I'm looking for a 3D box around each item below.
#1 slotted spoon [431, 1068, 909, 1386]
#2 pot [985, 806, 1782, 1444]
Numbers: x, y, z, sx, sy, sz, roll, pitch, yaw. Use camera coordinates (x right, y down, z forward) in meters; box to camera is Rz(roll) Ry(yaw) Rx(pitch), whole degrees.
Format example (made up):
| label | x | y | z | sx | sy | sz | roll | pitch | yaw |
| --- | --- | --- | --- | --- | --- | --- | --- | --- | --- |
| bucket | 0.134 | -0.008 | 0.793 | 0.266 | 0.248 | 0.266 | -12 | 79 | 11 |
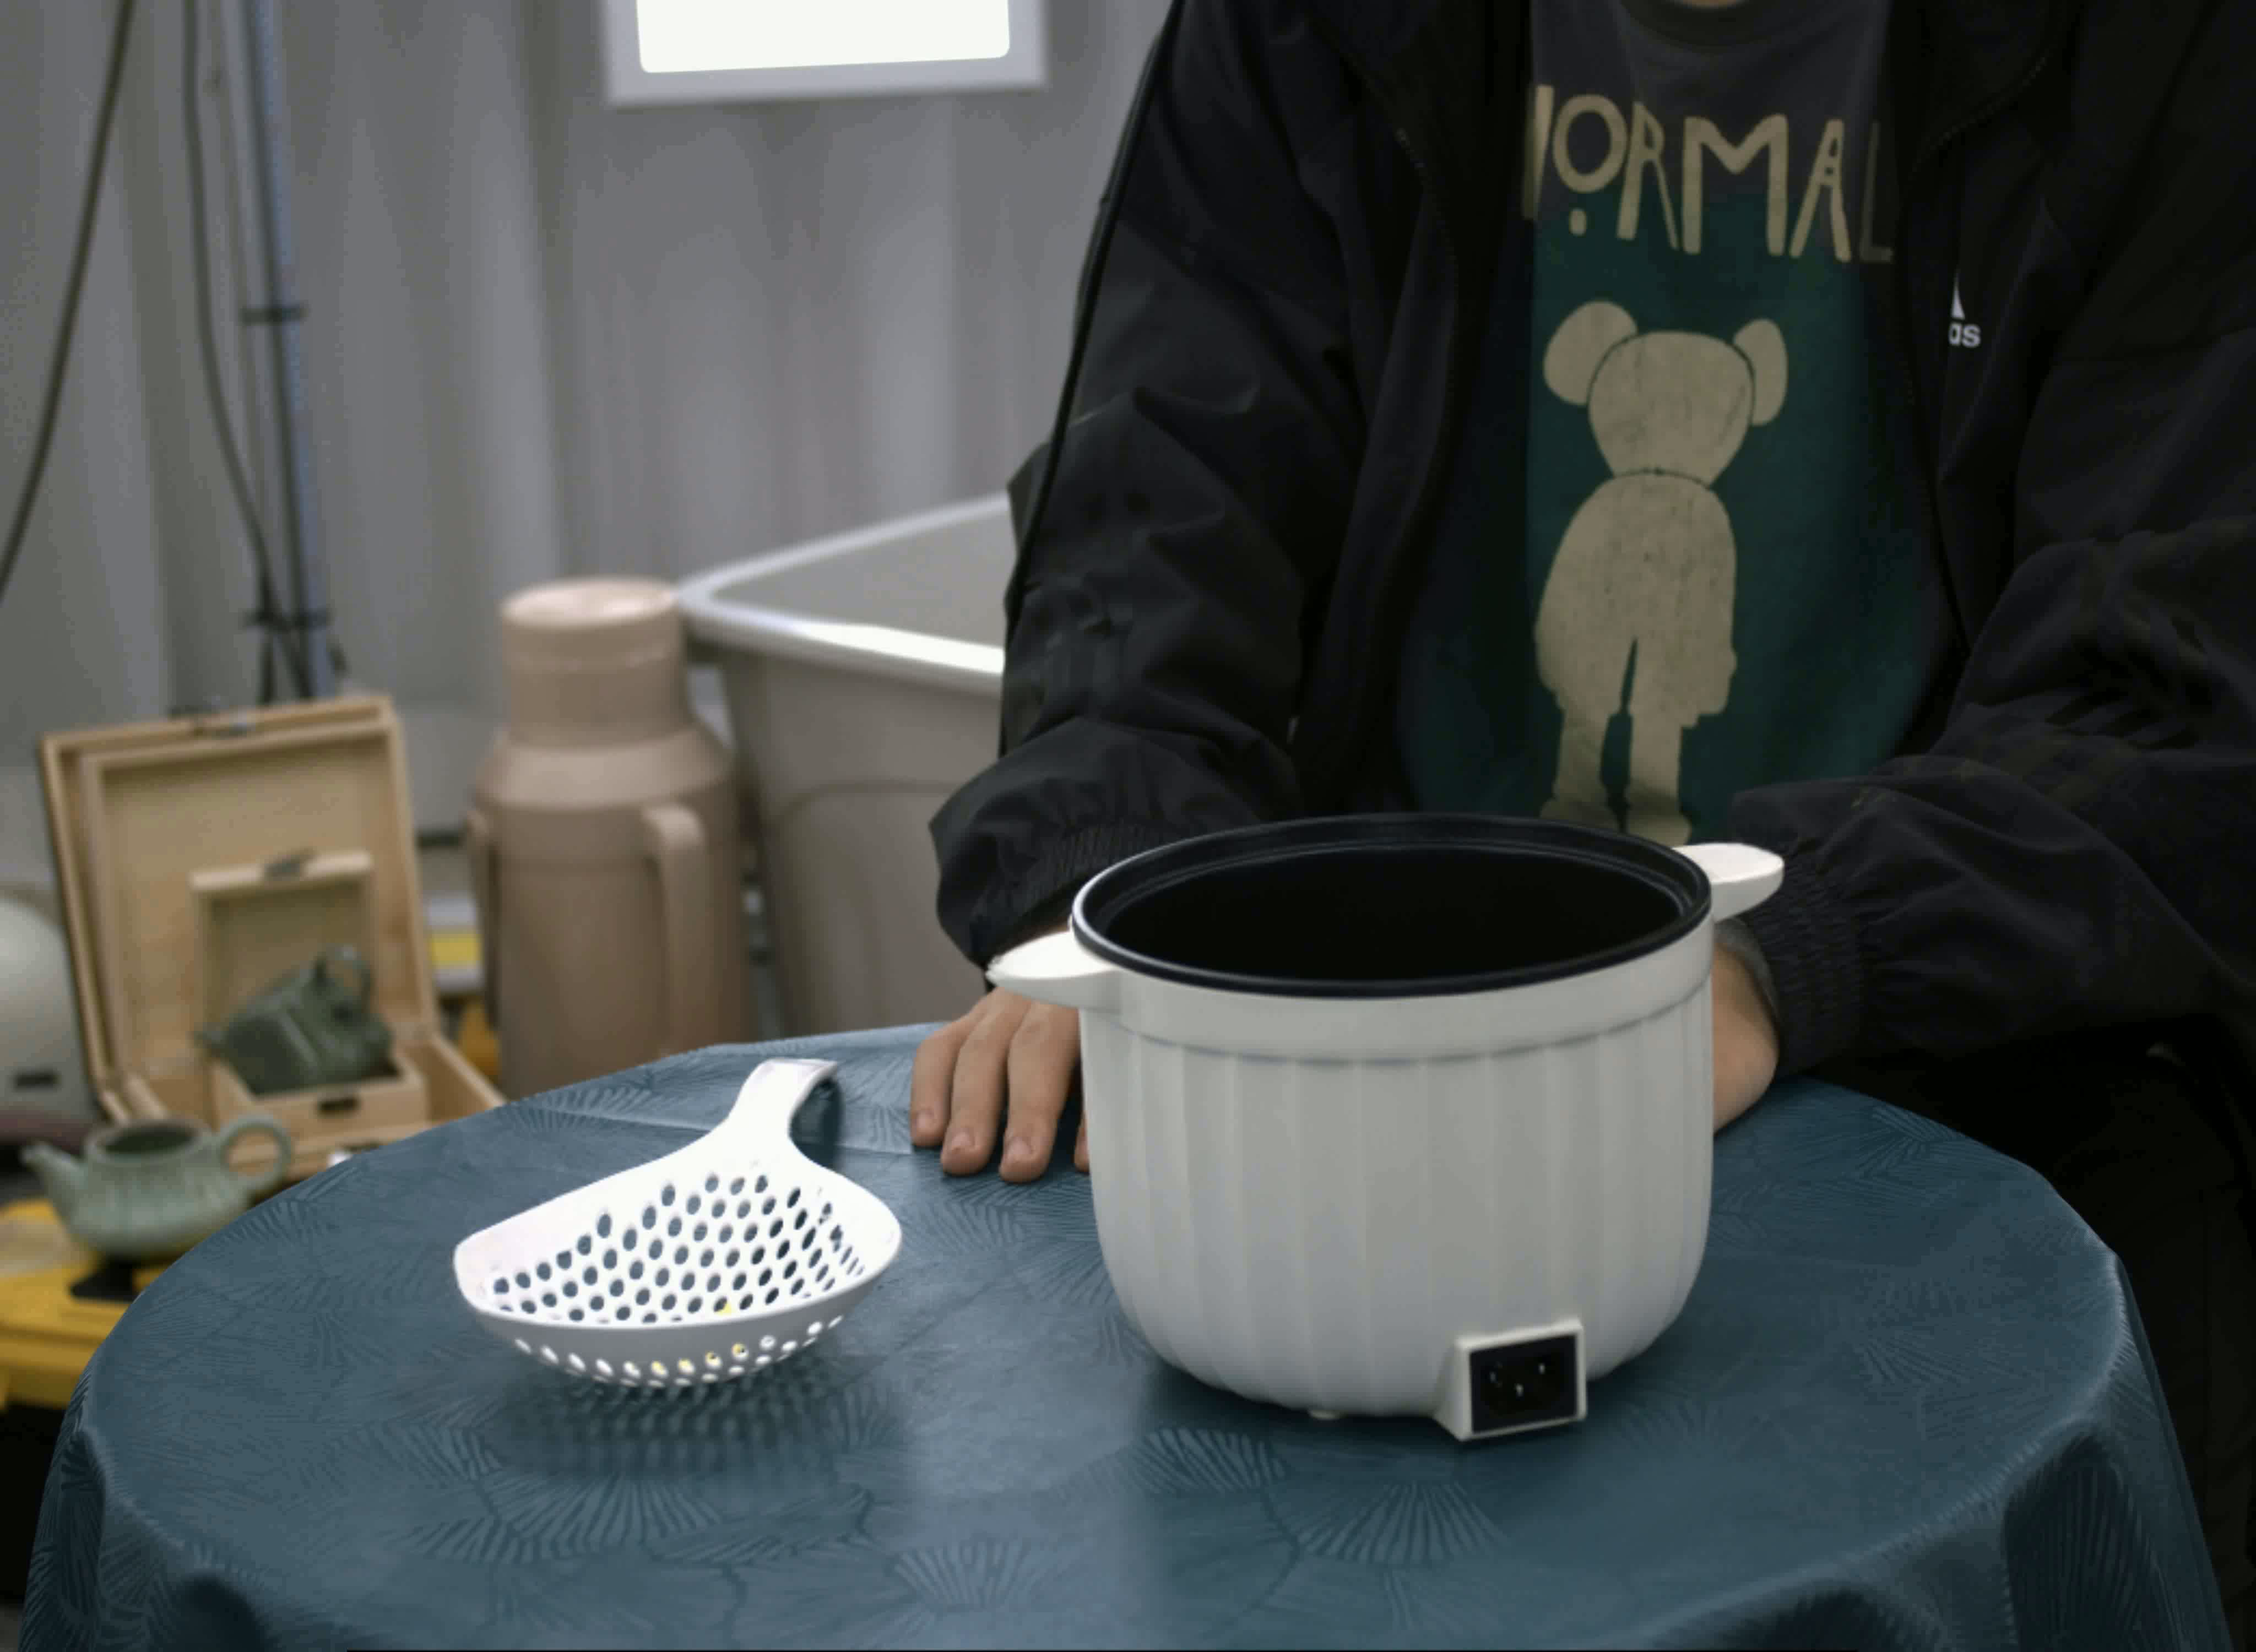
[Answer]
| label | x | y | z | sx | sy | sz | roll | pitch | yaw |
| --- | --- | --- | --- | --- | --- | --- | --- | --- | --- |
| slotted spoon | -0.120 | 0.109 | 1.677 | 0.136 | 0.050 | 0.350 | -3 | 15 | 6 |
| pot | 0.073 | 0.082 | 1.557 | 0.239 | 0.142 | 0.192 | -6 | 18 | -19 |
